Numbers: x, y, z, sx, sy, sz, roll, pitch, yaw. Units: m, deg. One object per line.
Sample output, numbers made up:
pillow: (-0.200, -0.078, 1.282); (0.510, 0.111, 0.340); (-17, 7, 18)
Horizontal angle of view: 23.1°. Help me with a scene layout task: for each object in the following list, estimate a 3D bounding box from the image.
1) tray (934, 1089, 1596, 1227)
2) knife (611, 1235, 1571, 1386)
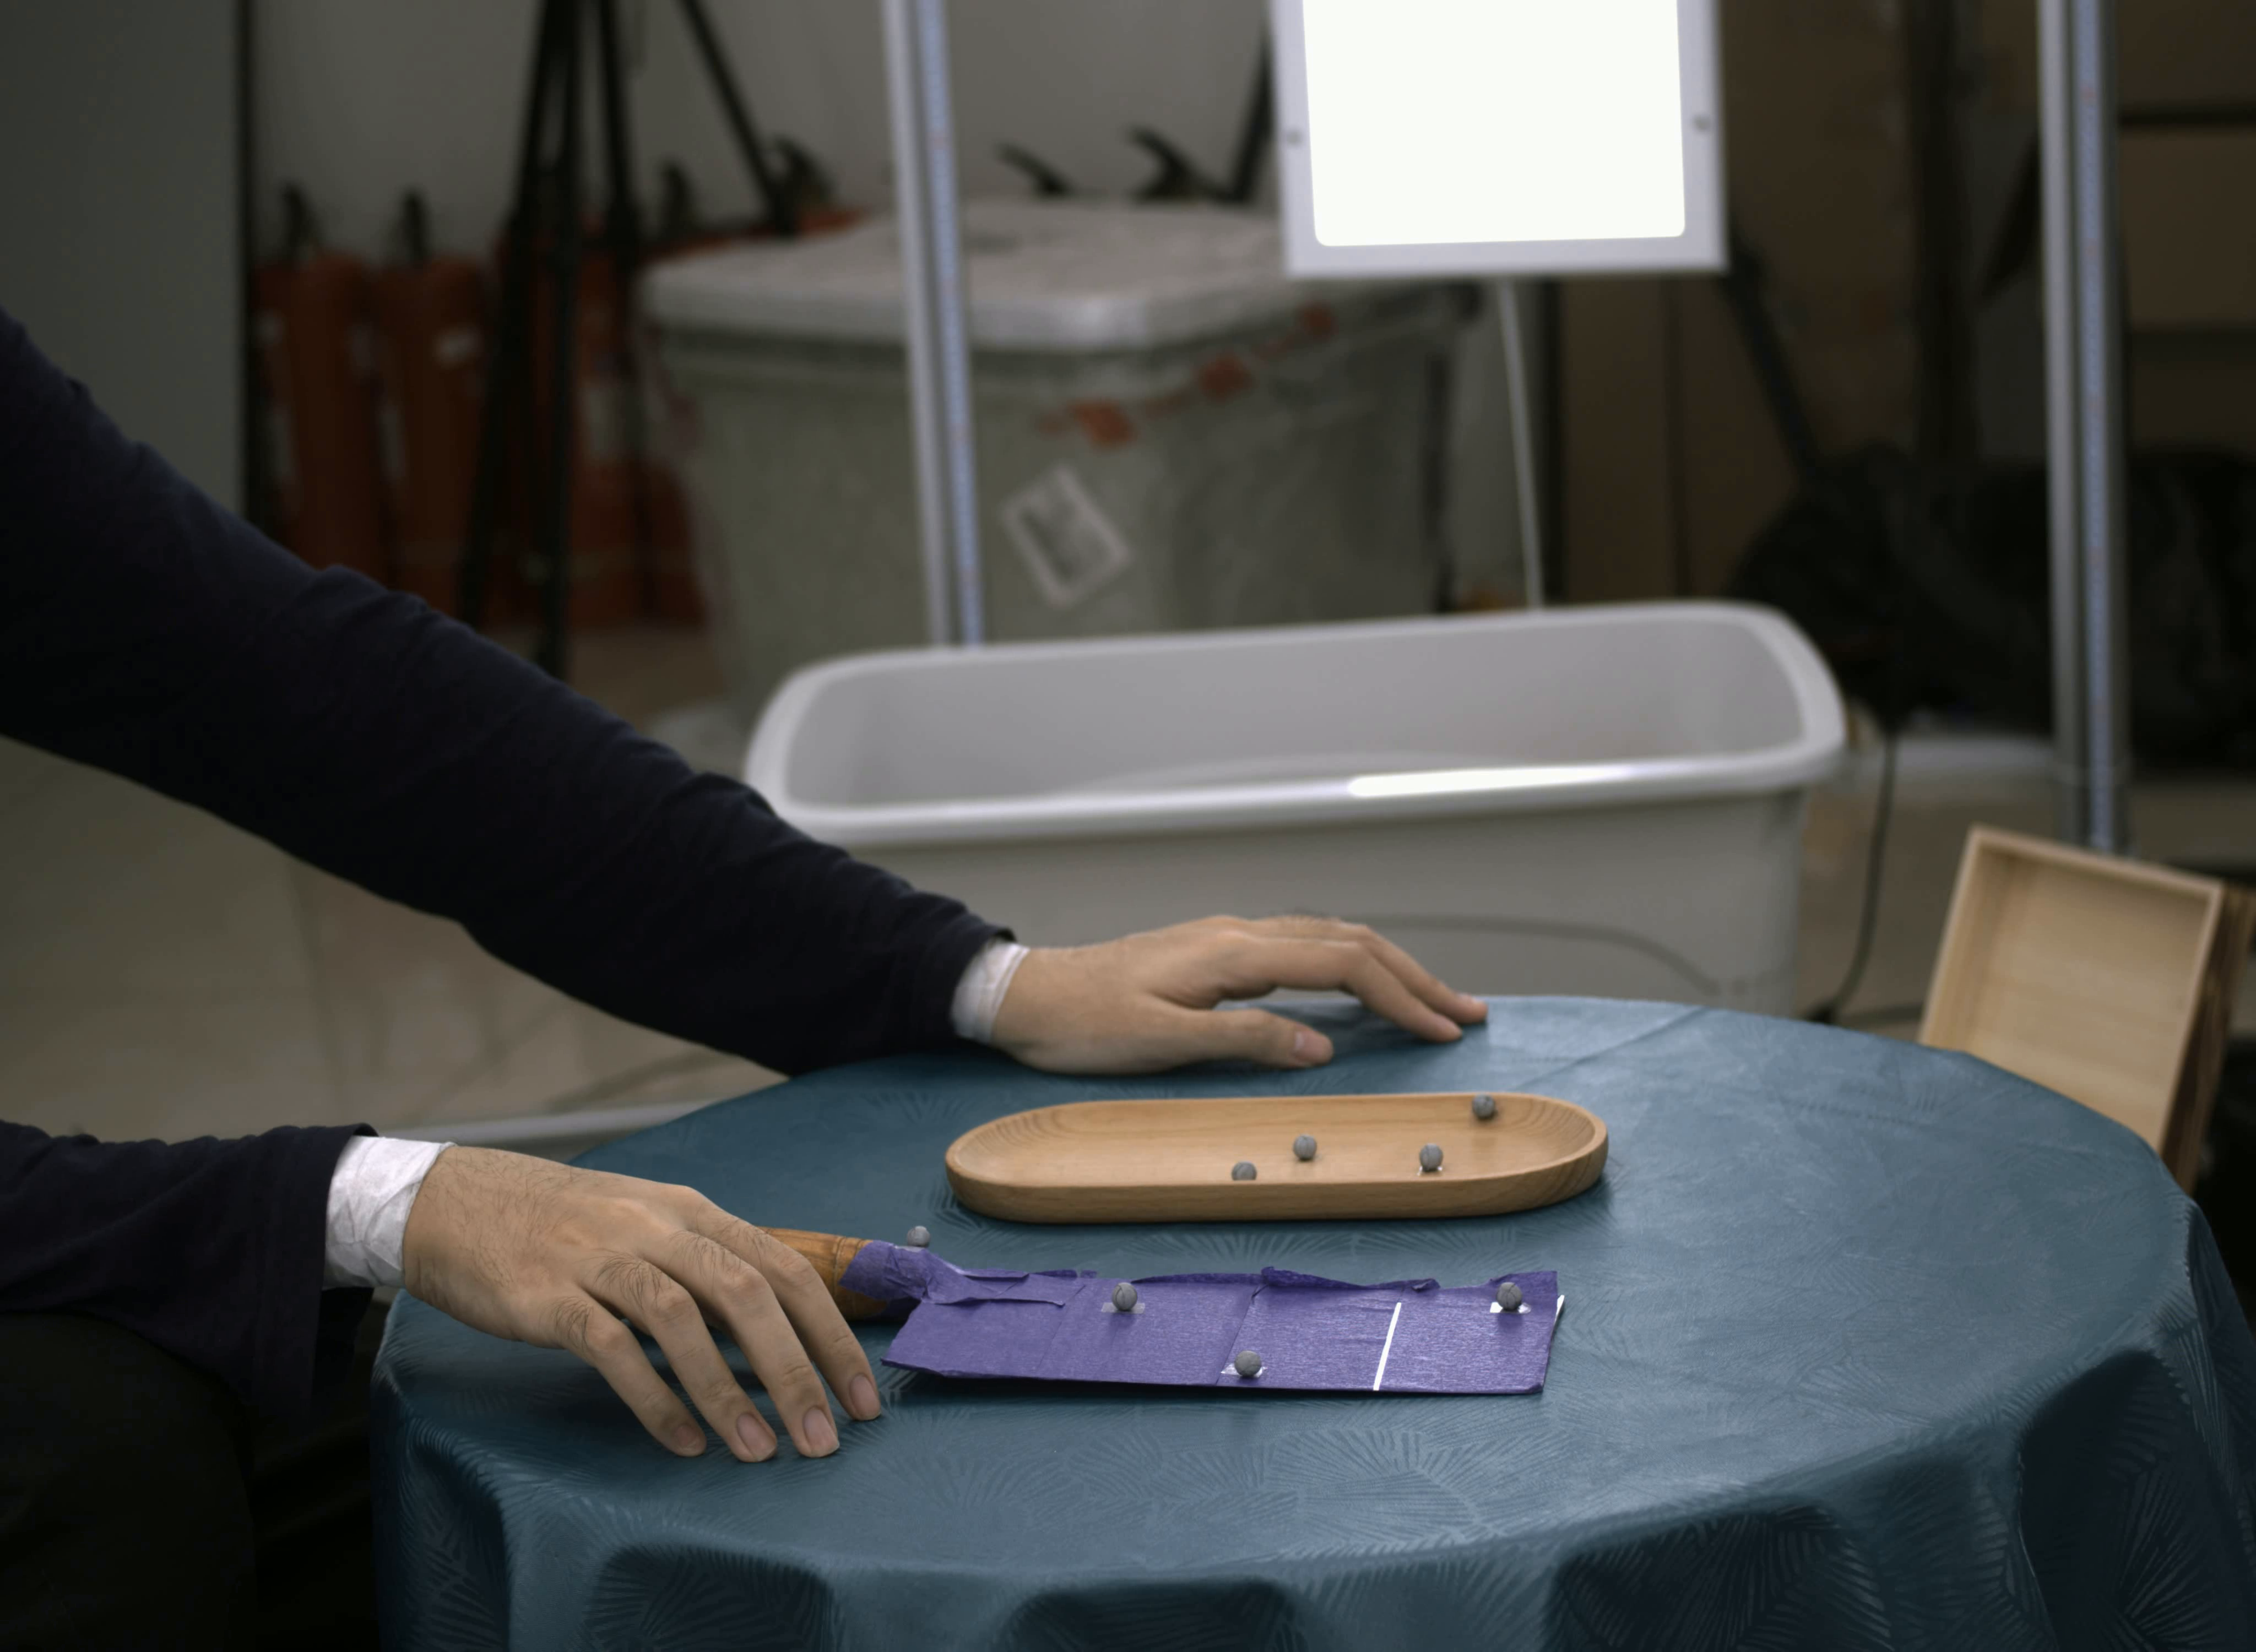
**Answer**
tray: (0.047, 0.115, 1.899); (0.233, 0.020, 0.100); (-4, 13, 13)
knife: (-0.018, 0.153, 1.743); (0.318, 0.032, 0.102); (-2, 14, 13)
